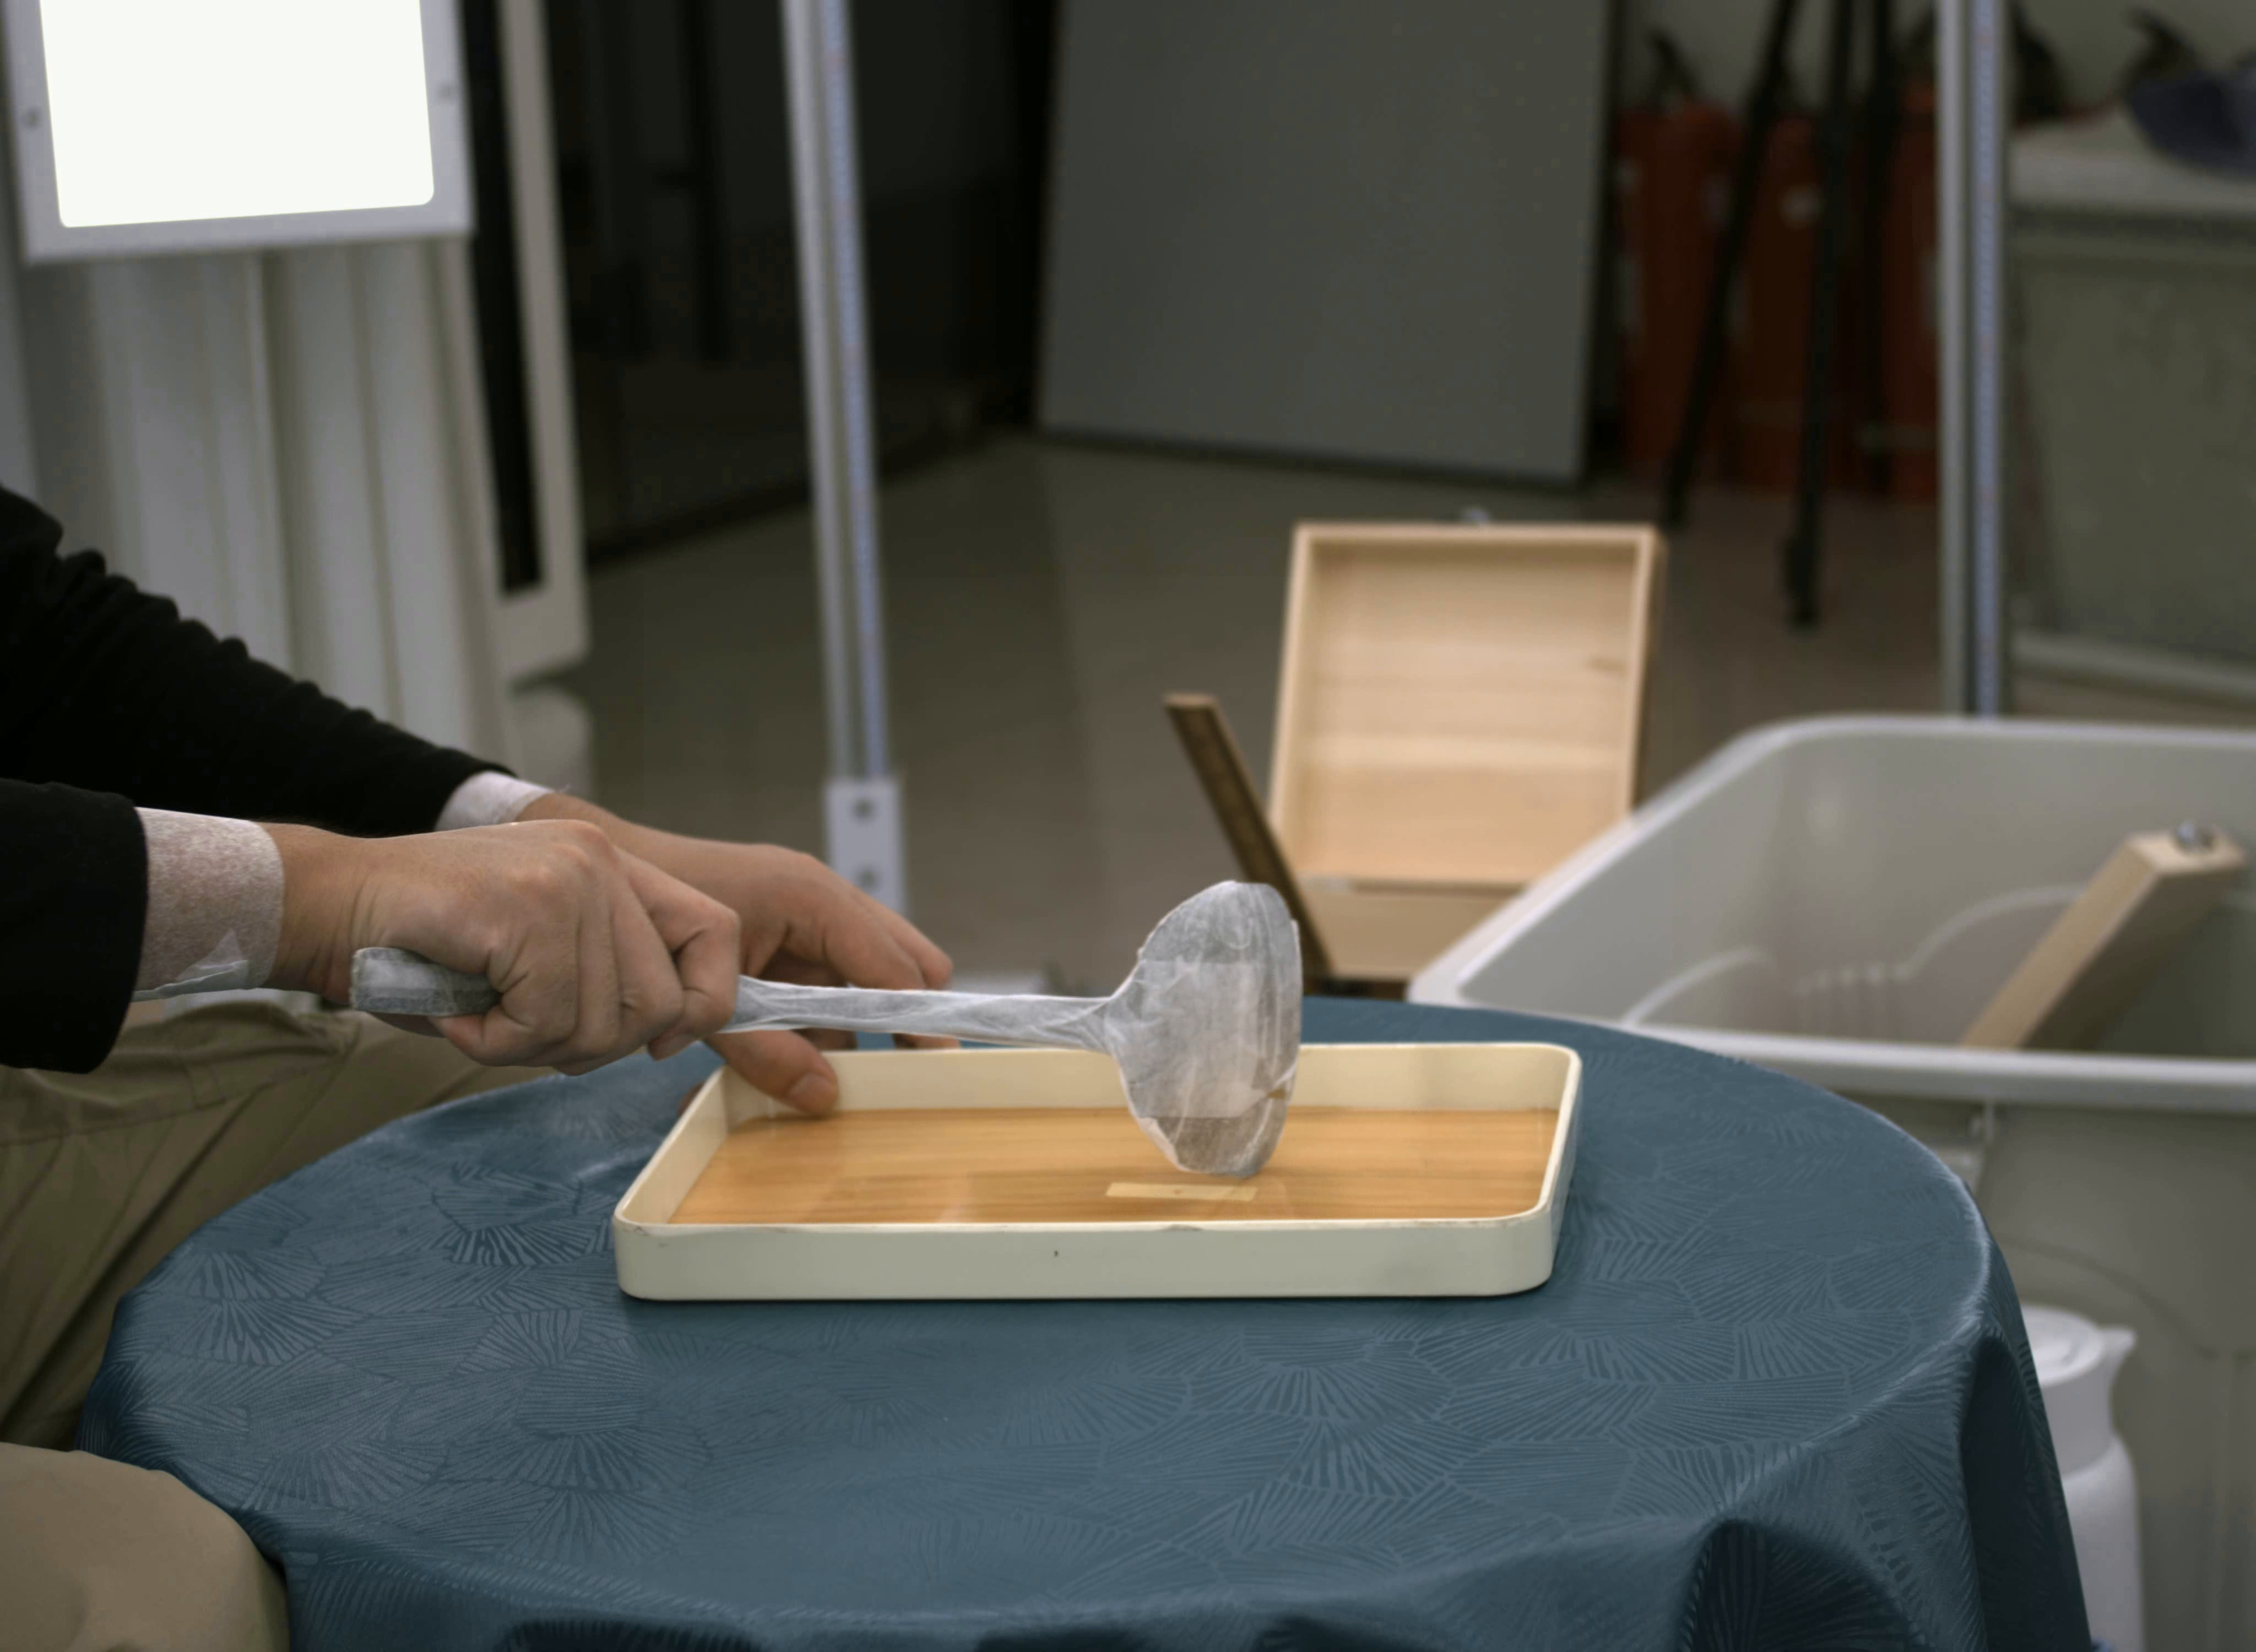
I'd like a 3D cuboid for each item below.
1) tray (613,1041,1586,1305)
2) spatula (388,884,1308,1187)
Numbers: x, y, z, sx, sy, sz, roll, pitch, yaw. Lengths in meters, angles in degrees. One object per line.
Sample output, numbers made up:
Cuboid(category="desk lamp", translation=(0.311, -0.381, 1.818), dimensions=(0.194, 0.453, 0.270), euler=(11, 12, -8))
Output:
Cuboid(category="tray", translation=(-0.004, 0.112, 1.752), dimensions=(0.298, 0.028, 0.191), euler=(-2, 14, 11))
Cuboid(category="spatula", translation=(-0.076, 0.056, 1.658), dimensions=(0.356, 0.100, 0.045), euler=(6, -3, -34))
